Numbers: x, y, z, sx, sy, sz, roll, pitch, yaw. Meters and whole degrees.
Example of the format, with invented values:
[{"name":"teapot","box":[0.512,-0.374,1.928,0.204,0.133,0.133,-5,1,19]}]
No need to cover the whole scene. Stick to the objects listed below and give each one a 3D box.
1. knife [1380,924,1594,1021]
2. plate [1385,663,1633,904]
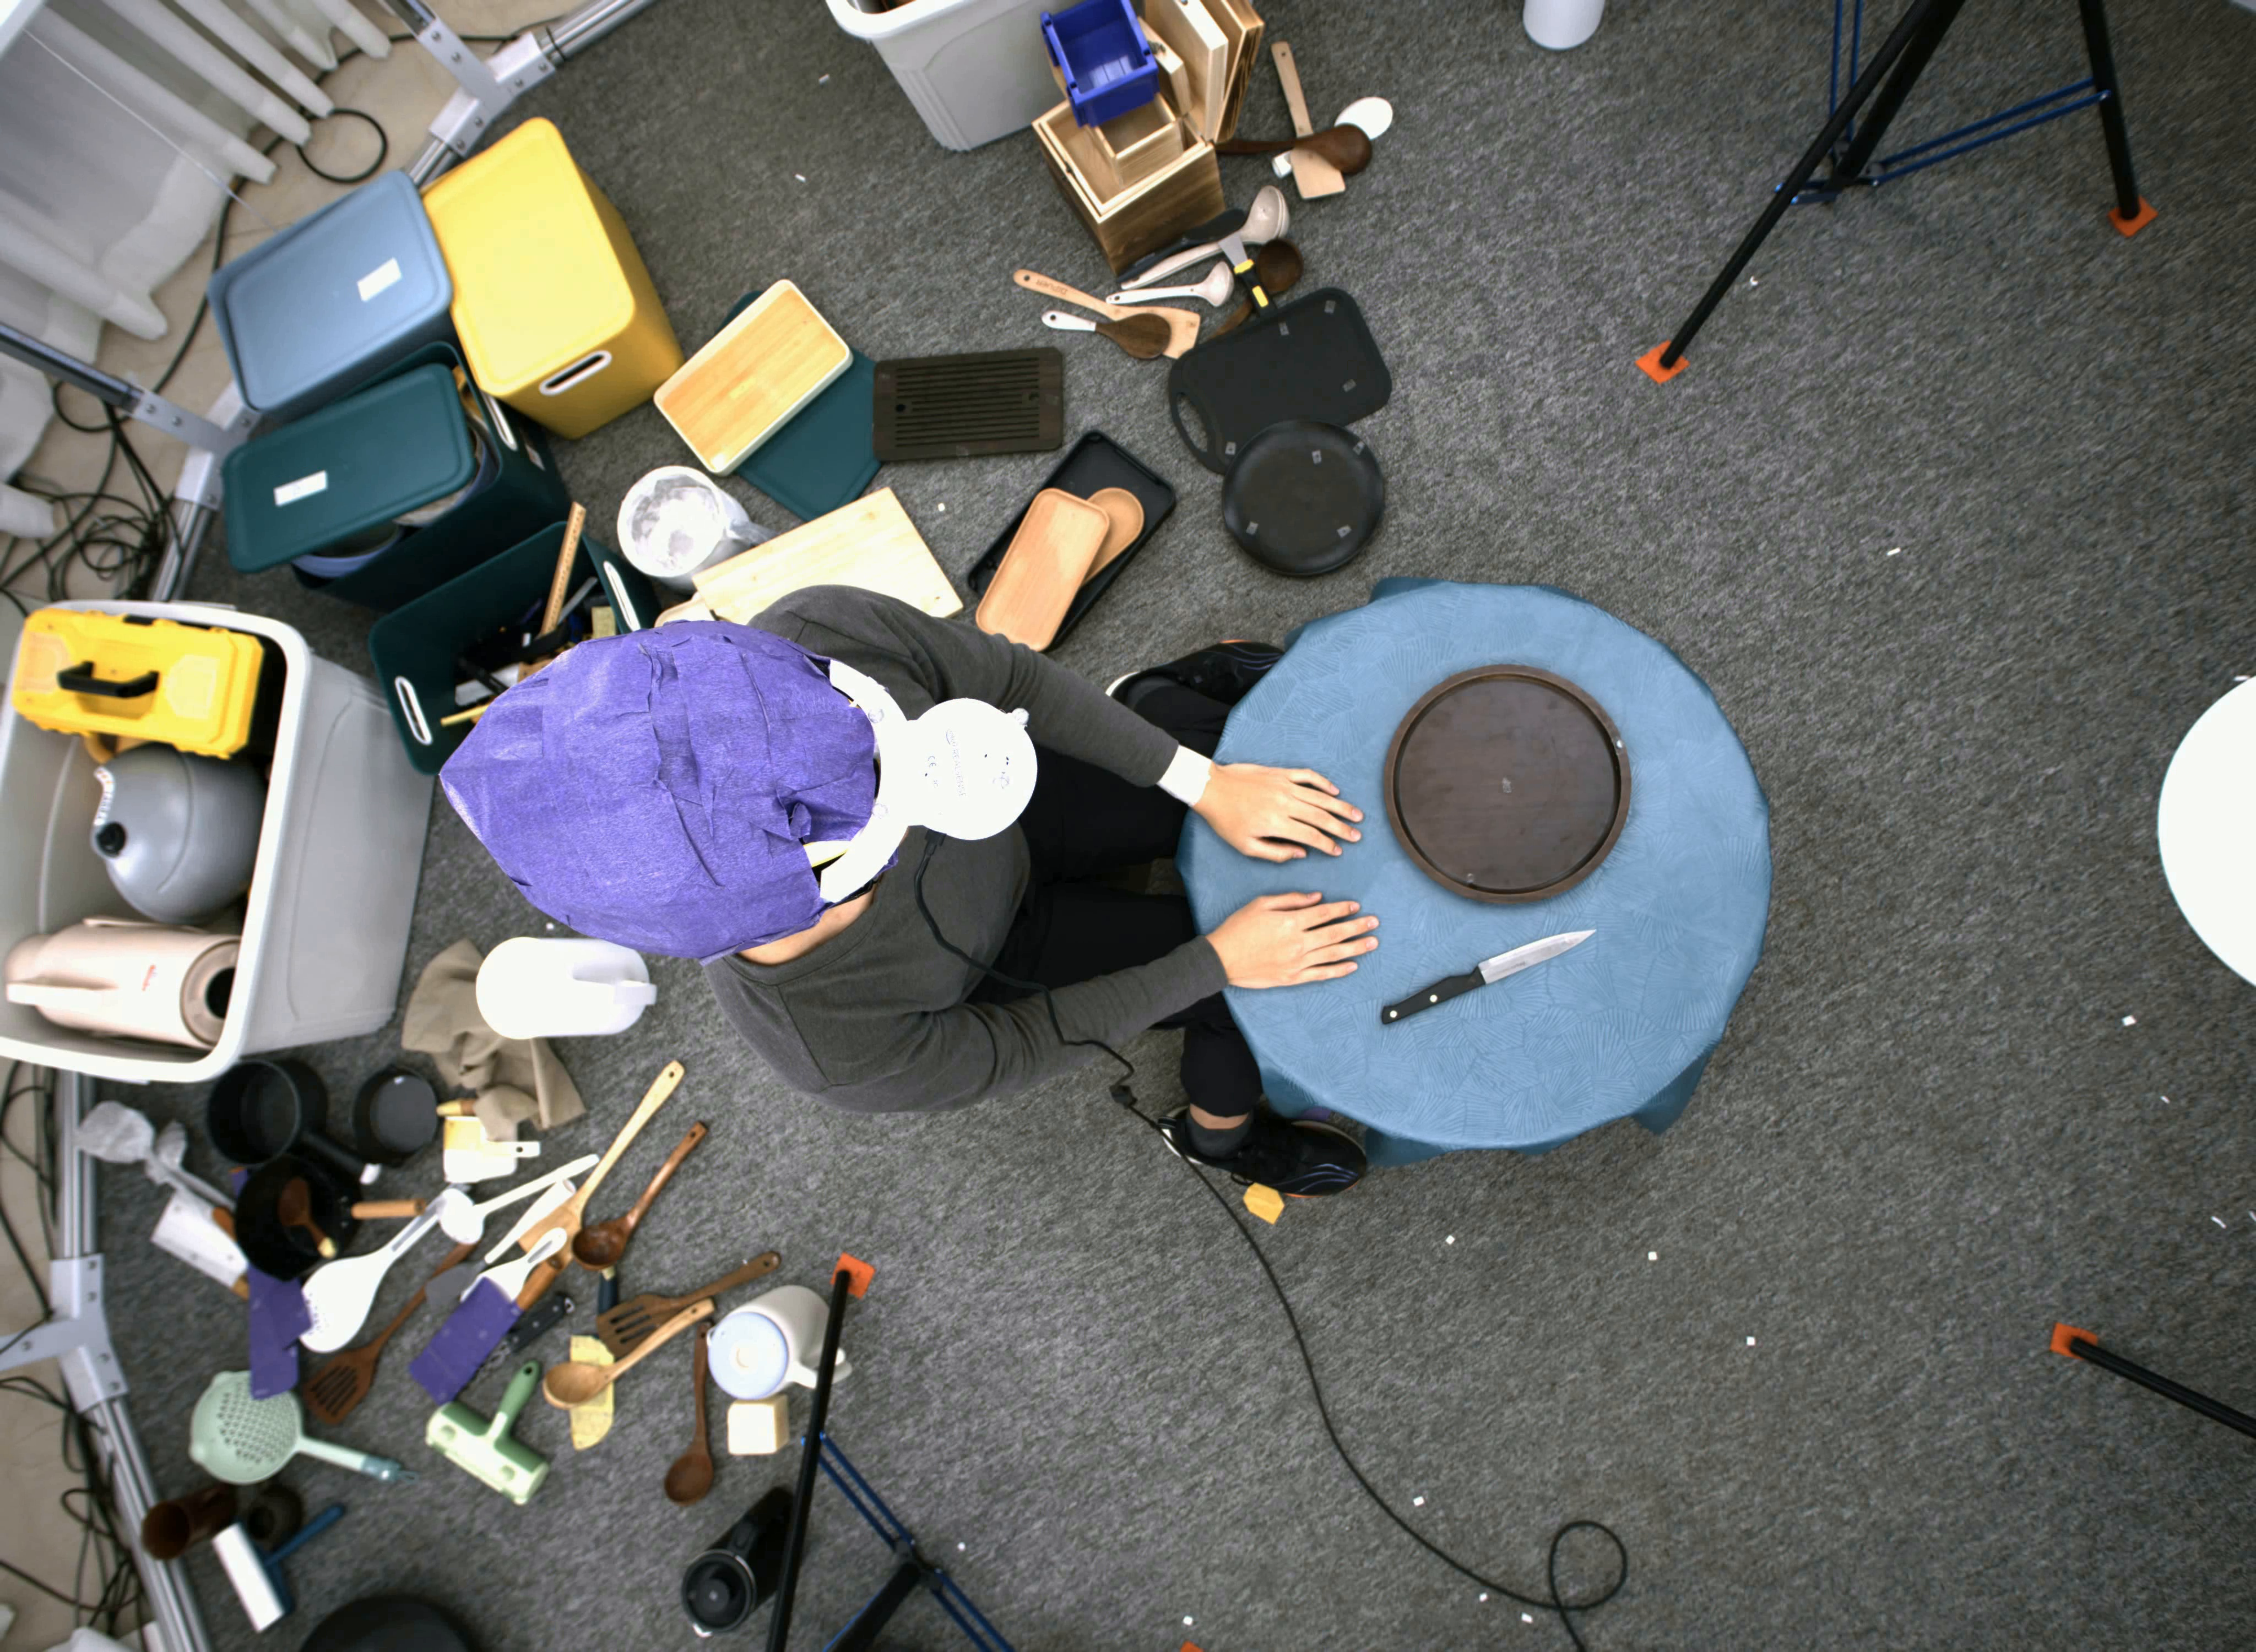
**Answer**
[{"name":"knife","box":[0.375,0.150,1.430,0.239,0.016,0.024,-24,85,6]},{"name":"plate","box":[0.395,-0.047,1.431,0.256,0.029,0.253,-1,86,10]}]
